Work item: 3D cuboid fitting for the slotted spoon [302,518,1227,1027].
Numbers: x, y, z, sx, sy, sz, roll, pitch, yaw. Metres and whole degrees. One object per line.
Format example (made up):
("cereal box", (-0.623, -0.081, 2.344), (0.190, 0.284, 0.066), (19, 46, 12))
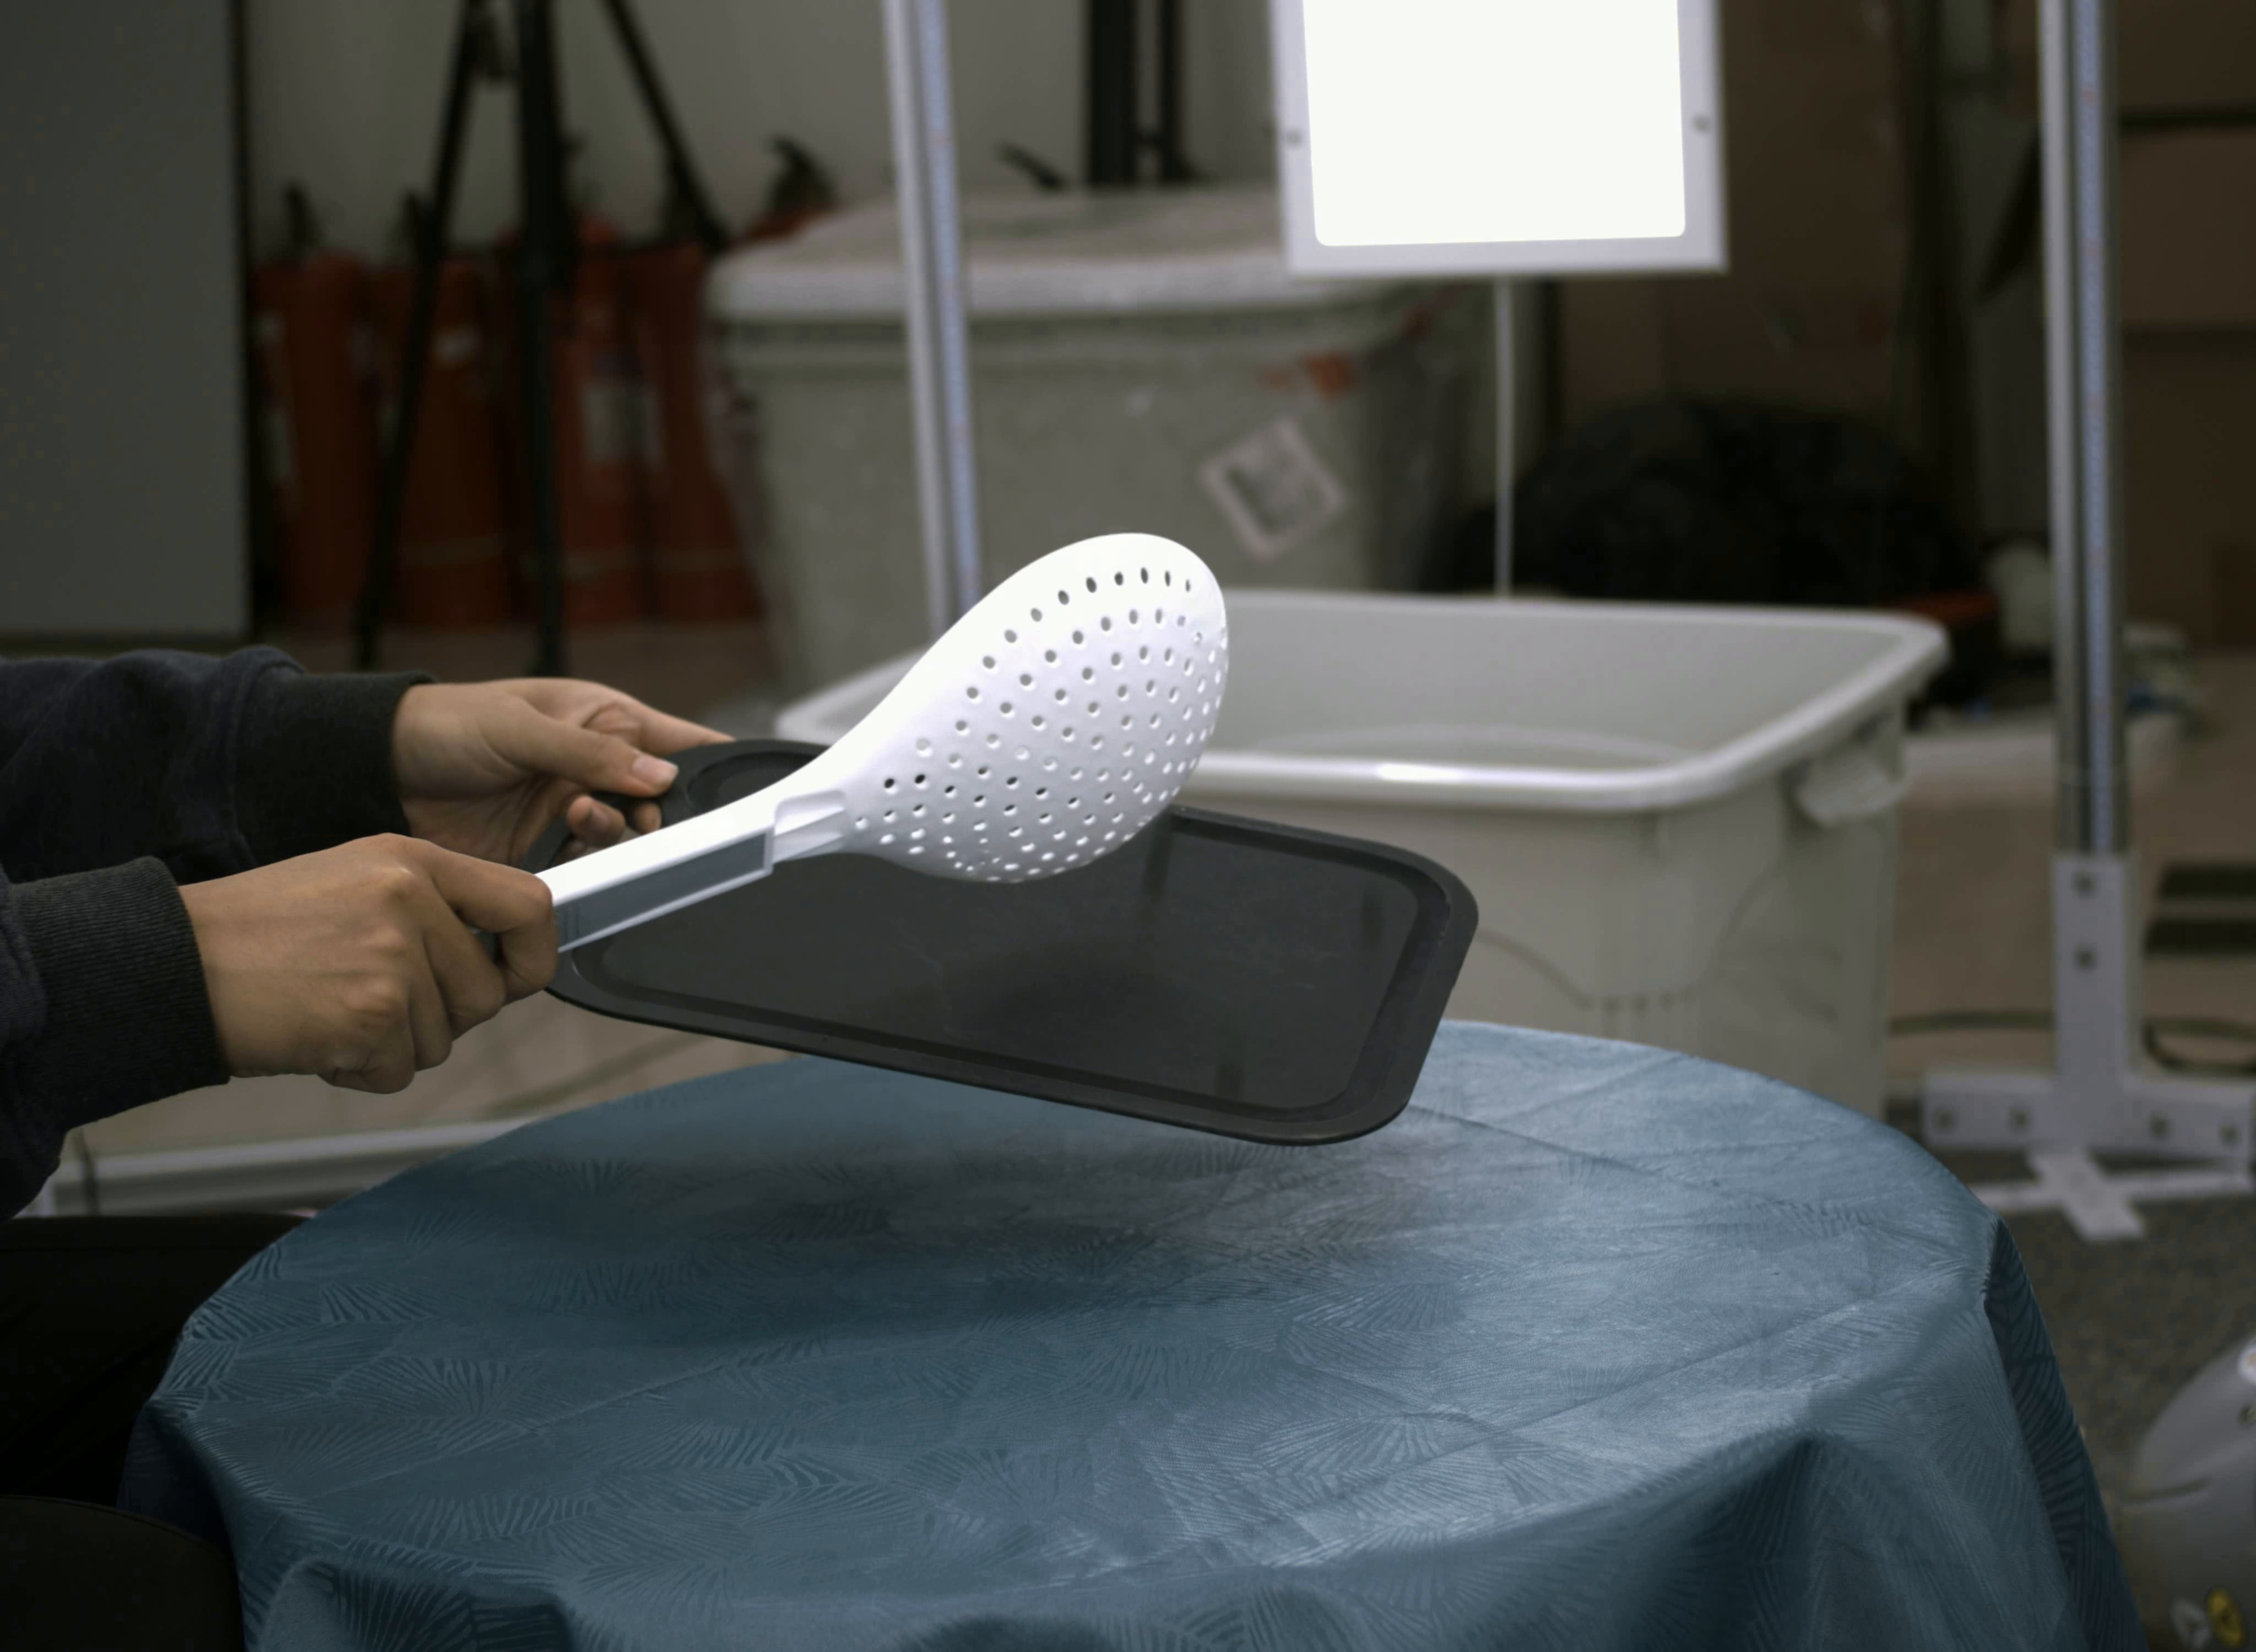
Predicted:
("slotted spoon", (-0.107, -0.005, 1.766), (0.343, 0.137, 0.046), (-17, 42, -23))

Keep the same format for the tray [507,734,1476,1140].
("tray", (-0.051, 0.032, 1.882), (0.328, 0.010, 0.208), (10, 29, 12))
